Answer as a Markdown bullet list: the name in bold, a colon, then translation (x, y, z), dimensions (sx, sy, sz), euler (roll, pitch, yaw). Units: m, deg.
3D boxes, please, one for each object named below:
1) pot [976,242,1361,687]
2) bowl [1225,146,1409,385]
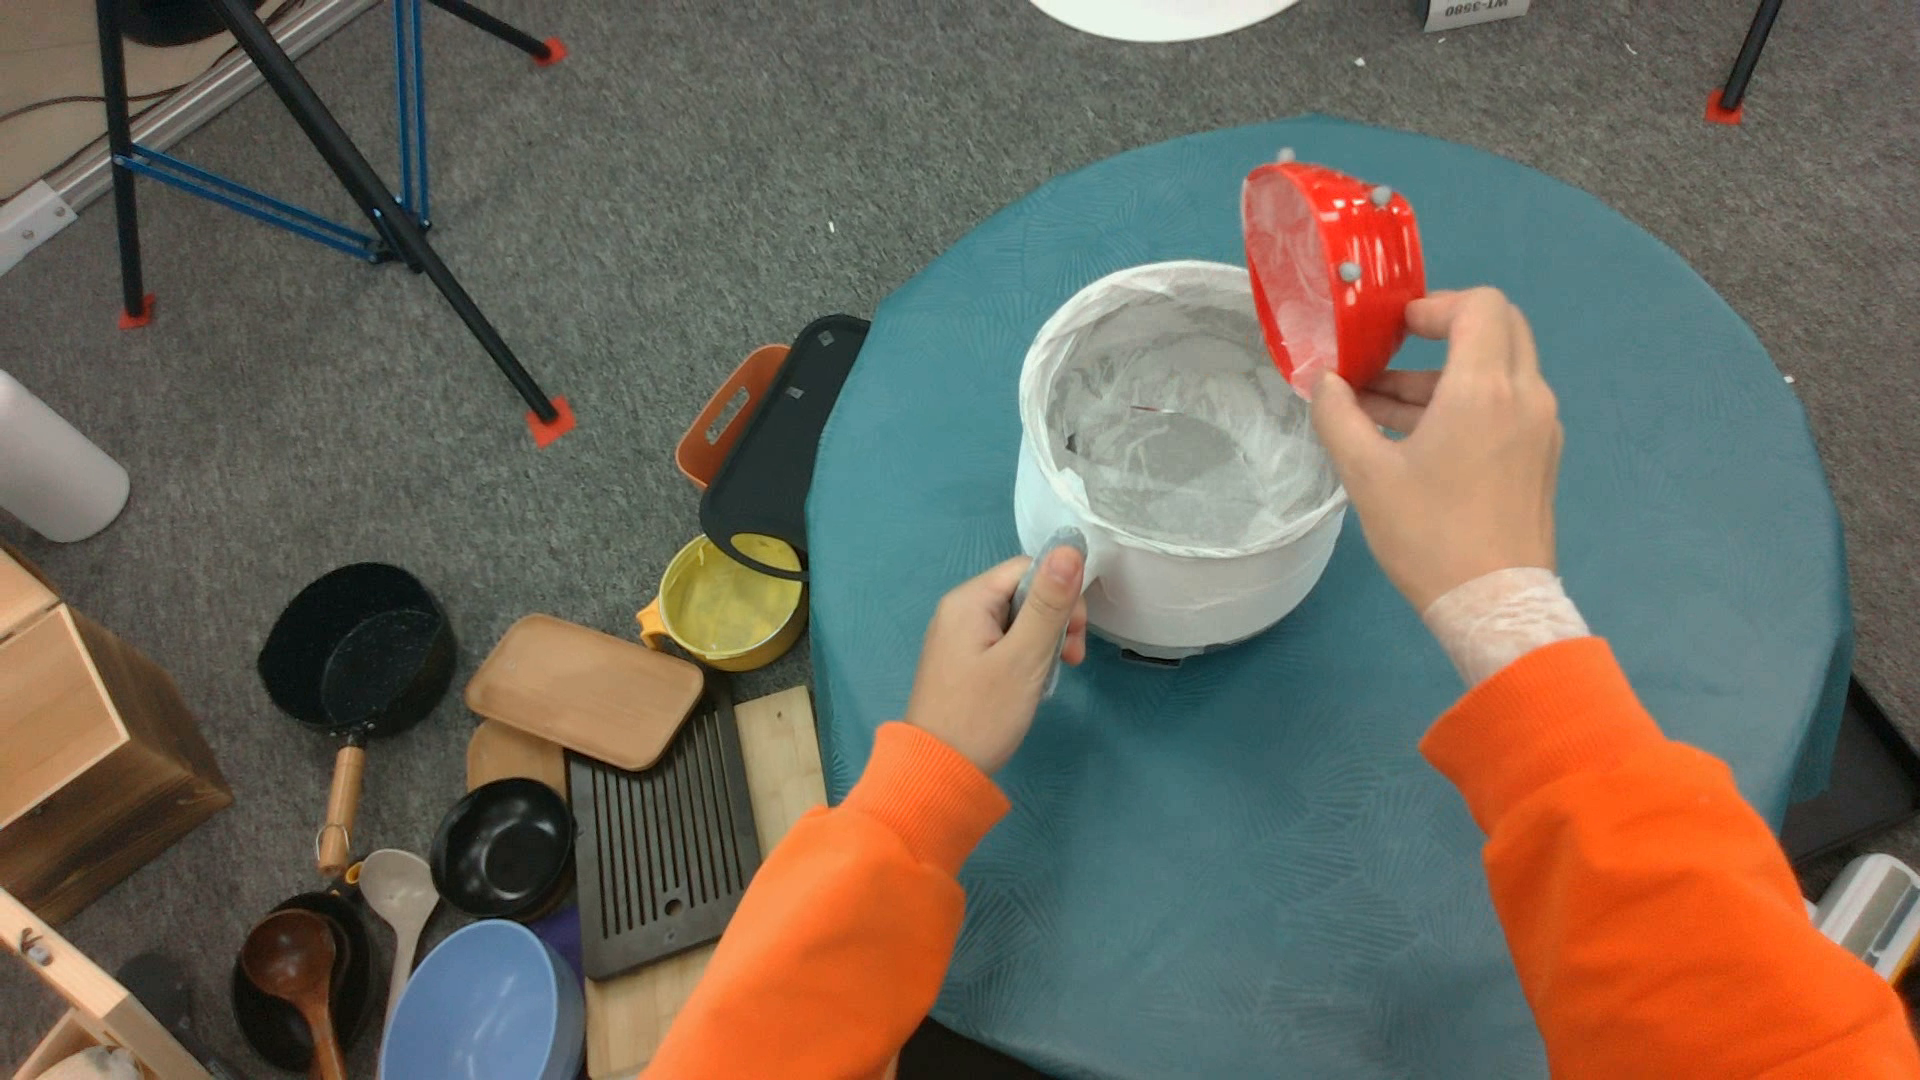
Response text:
- **pot**: translation (0.092, -0.029, 0.721), dimensions (0.179, 0.136, 0.234), euler (33, 66, 18)
- **bowl**: translation (0.168, -0.132, 0.639), dimensions (0.051, 0.118, 0.119), euler (-16, 59, -4)
